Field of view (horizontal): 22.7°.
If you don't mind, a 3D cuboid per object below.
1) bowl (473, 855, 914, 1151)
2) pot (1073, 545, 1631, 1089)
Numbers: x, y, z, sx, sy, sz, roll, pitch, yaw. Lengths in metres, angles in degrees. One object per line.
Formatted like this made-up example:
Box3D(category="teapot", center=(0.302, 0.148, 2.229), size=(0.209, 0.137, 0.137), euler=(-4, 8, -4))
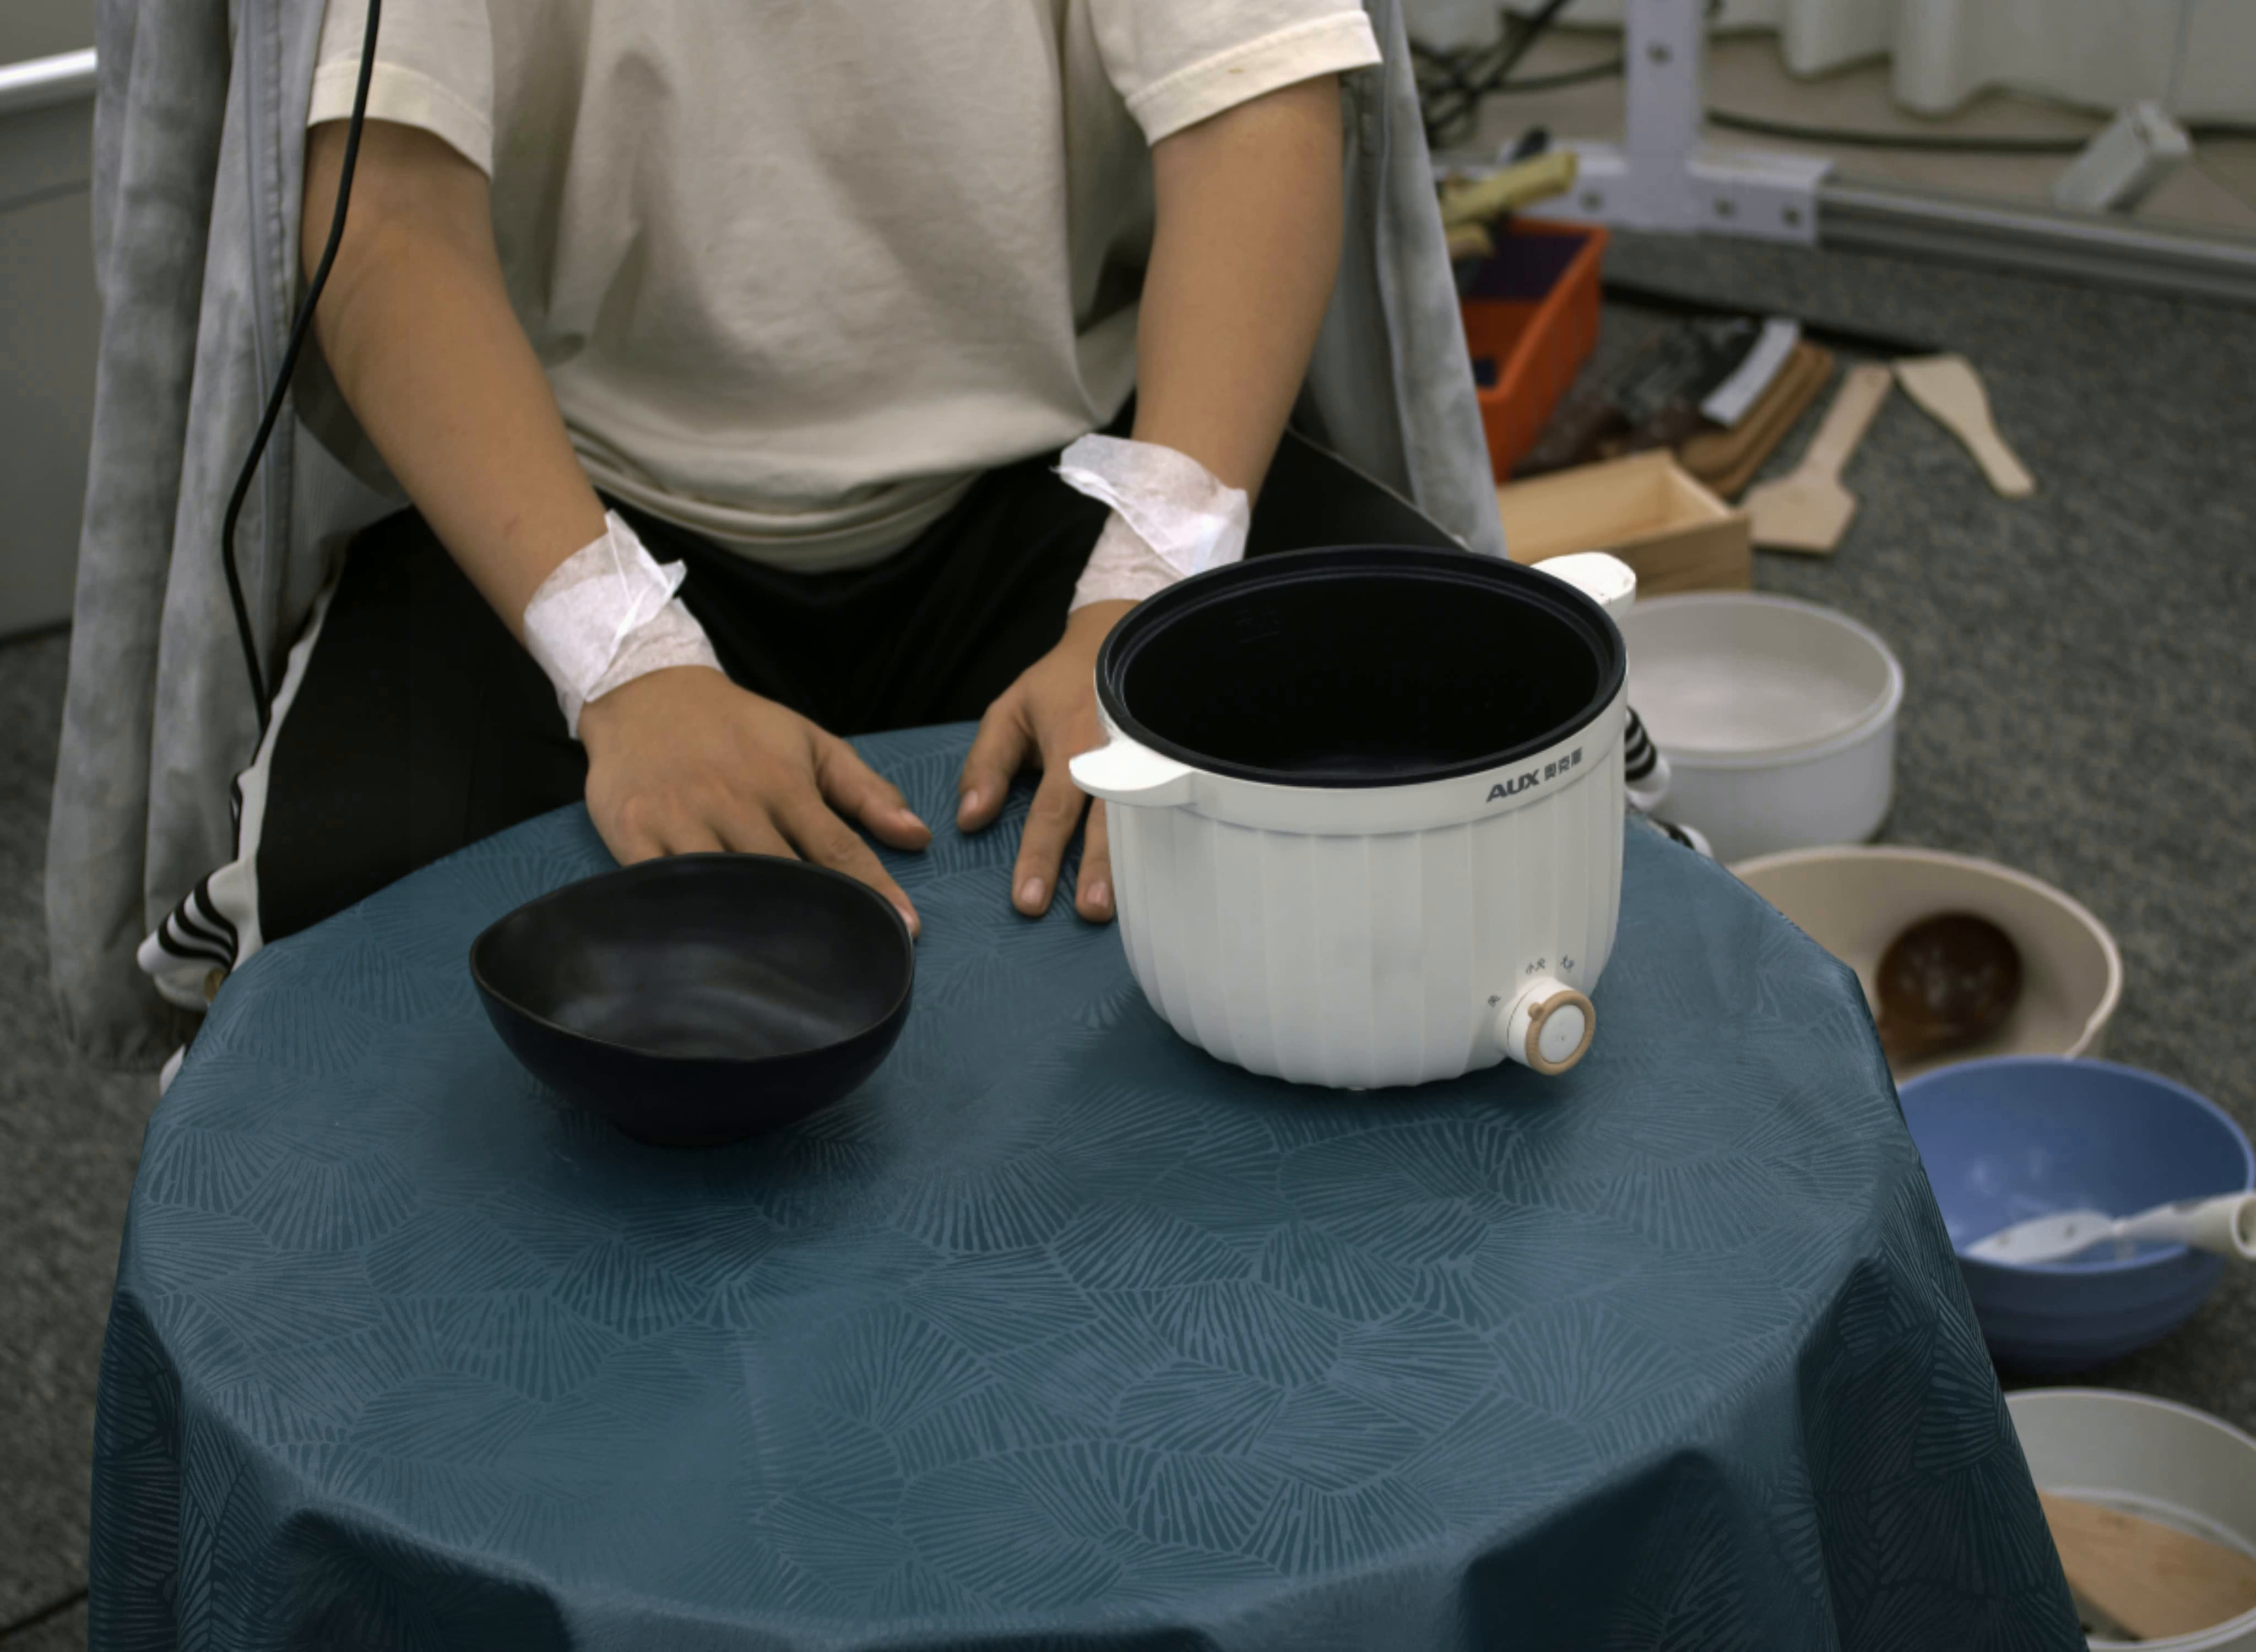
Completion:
Box3D(category="bowl", center=(-0.148, 0.068, 1.910), size=(0.170, 0.066, 0.139), euler=(19, 33, 37))
Box3D(category="pot", center=(0.087, 0.002, 1.935), size=(0.243, 0.141, 0.190), euler=(-23, 29, -33))
